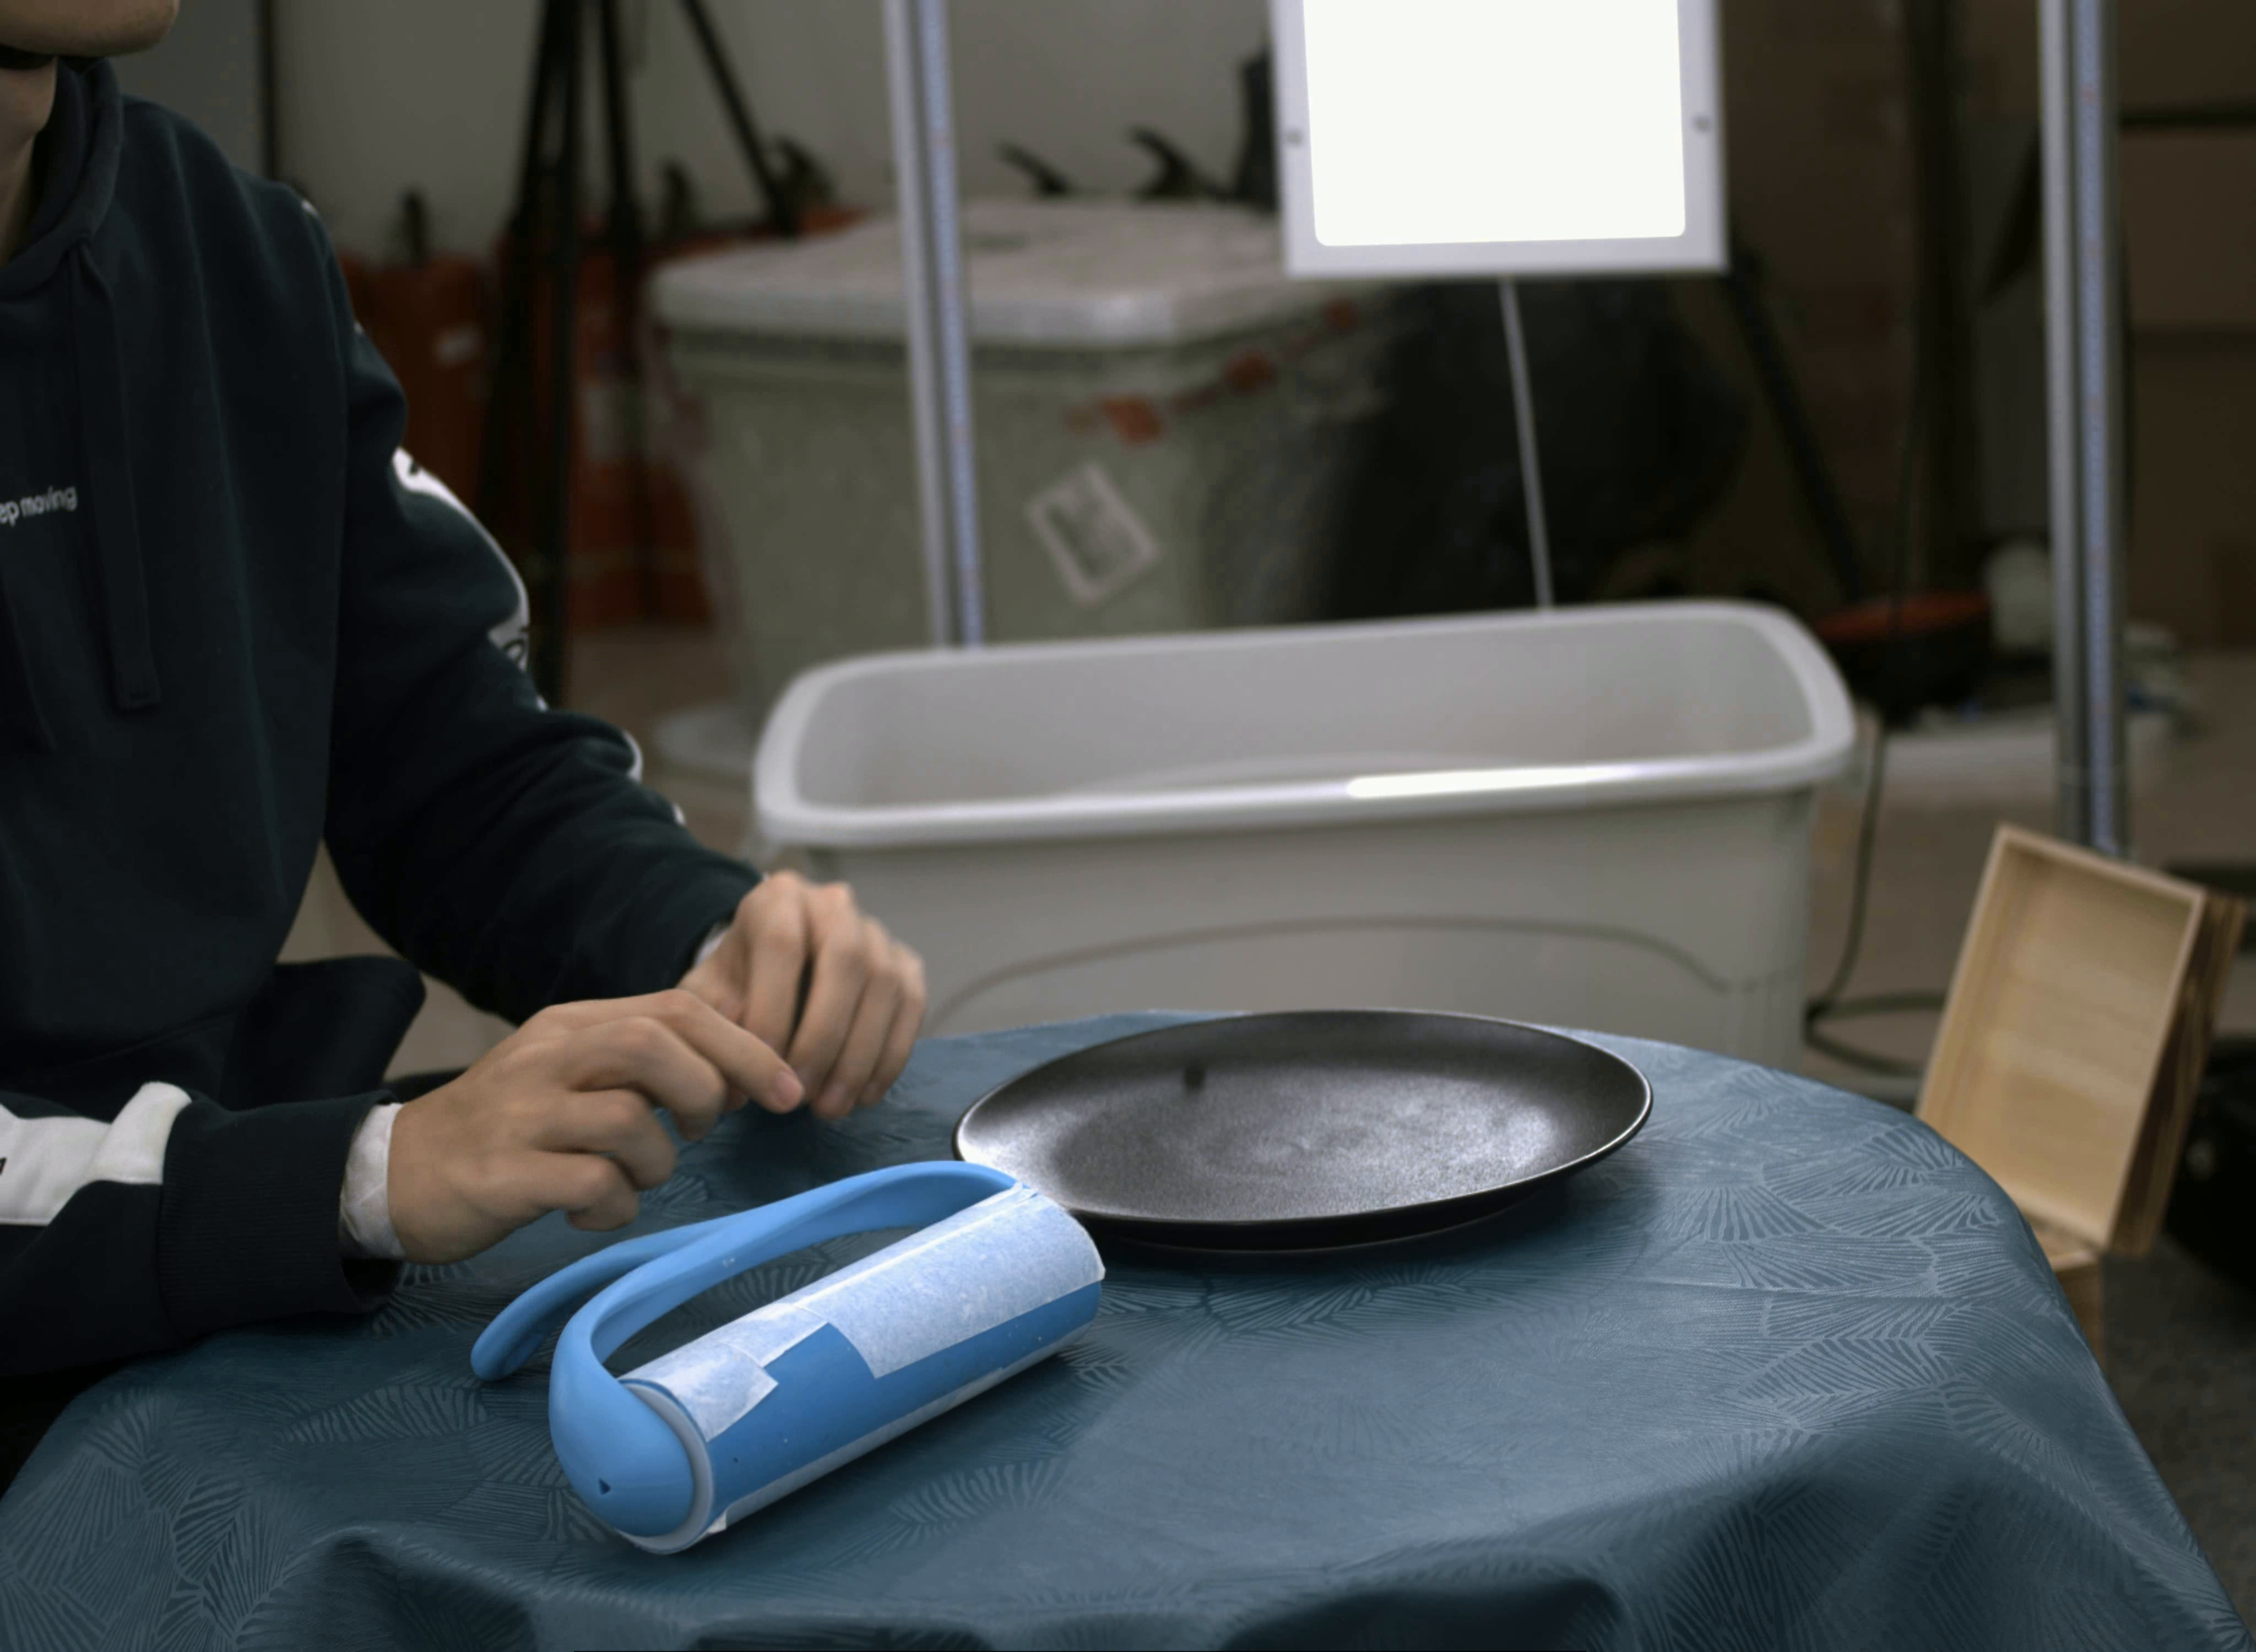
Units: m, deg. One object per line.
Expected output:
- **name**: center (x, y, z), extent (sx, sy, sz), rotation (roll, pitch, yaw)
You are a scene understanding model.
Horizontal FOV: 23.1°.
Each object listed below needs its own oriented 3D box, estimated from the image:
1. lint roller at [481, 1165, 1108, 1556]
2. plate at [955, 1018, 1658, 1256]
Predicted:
- **lint roller**: center (-0.132, 0.157, 1.700), extent (0.184, 0.068, 0.223), rotation (5, 18, 34)
- **plate**: center (0.062, 0.109, 1.897), extent (0.244, 0.023, 0.244), rotation (-5, 14, 0)
